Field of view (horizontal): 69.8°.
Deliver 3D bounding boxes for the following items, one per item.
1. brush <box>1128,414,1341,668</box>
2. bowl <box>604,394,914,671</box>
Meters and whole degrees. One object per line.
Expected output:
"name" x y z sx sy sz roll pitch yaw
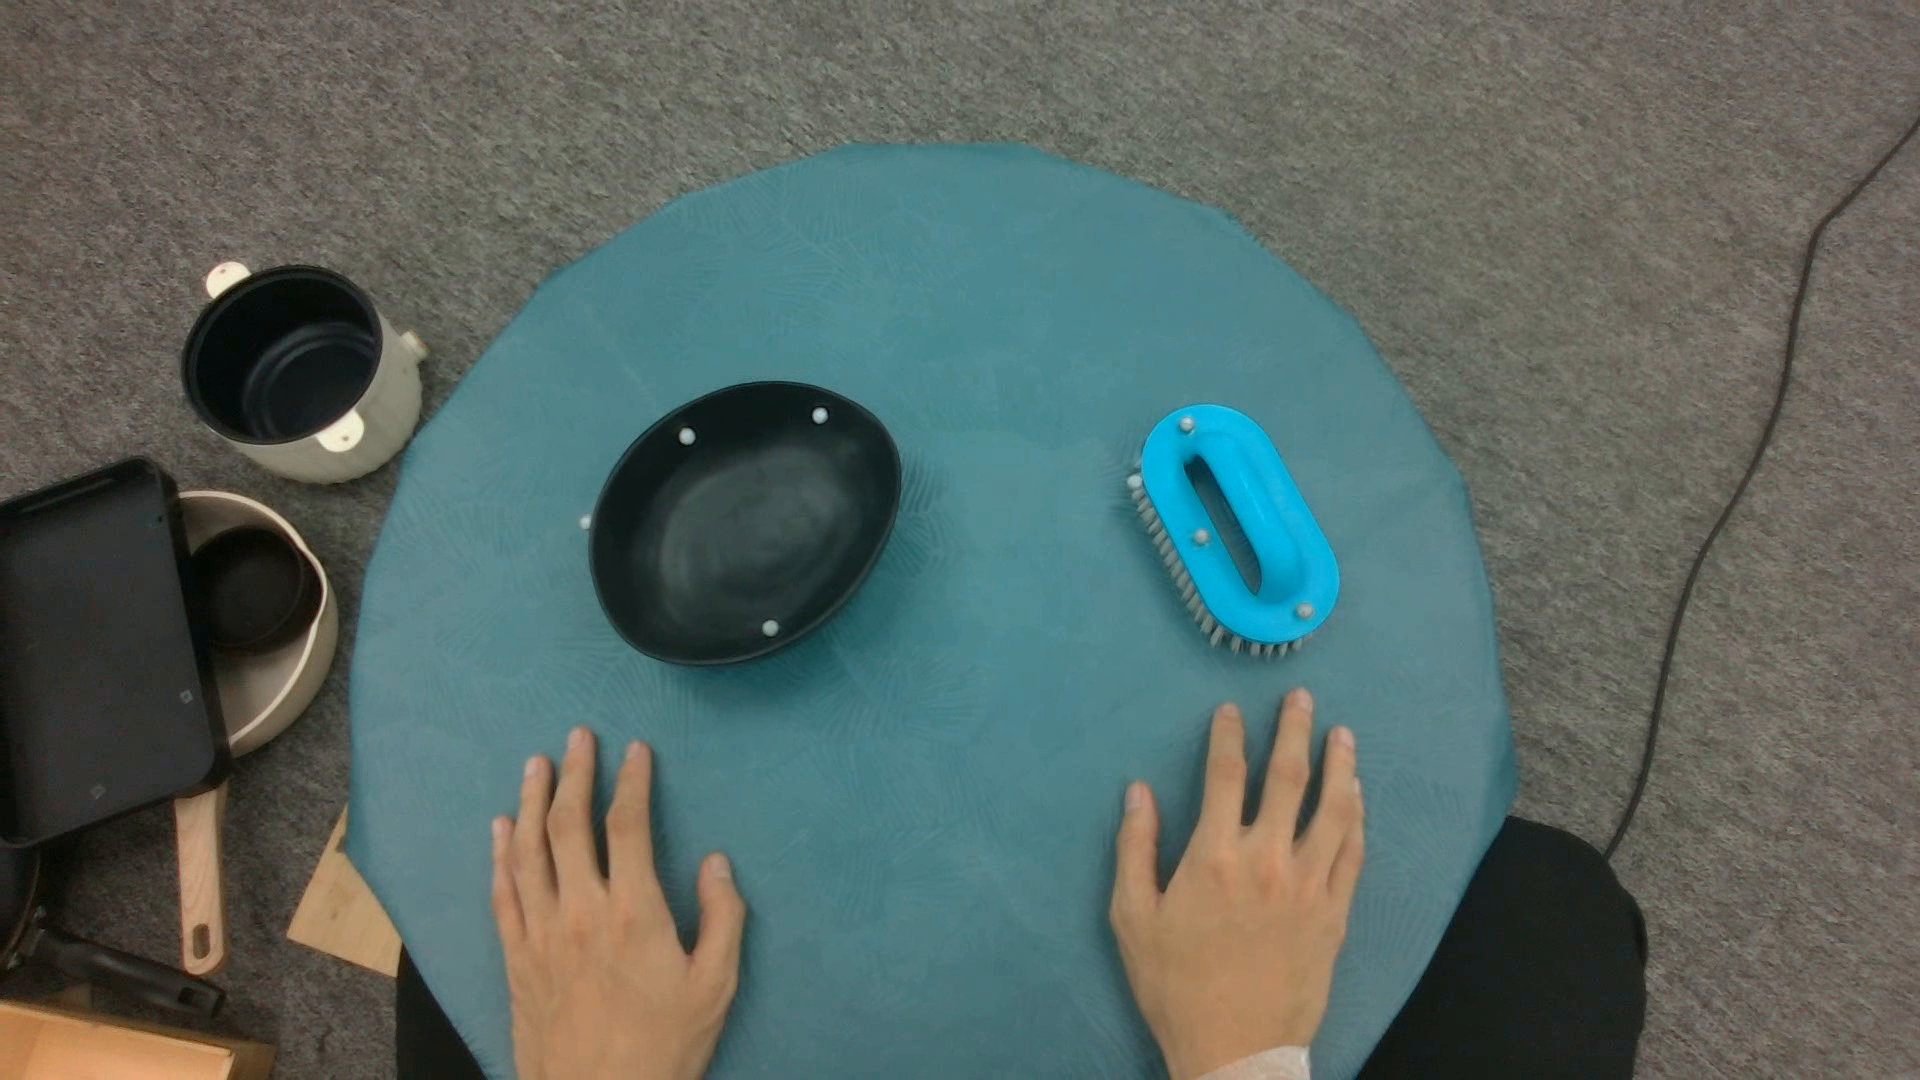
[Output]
"brush" 0.147 -0.007 0.720 0.084 0.063 0.142 -19 72 -11
"bowl" -0.102 0.000 0.724 0.137 0.066 0.171 43 75 14
